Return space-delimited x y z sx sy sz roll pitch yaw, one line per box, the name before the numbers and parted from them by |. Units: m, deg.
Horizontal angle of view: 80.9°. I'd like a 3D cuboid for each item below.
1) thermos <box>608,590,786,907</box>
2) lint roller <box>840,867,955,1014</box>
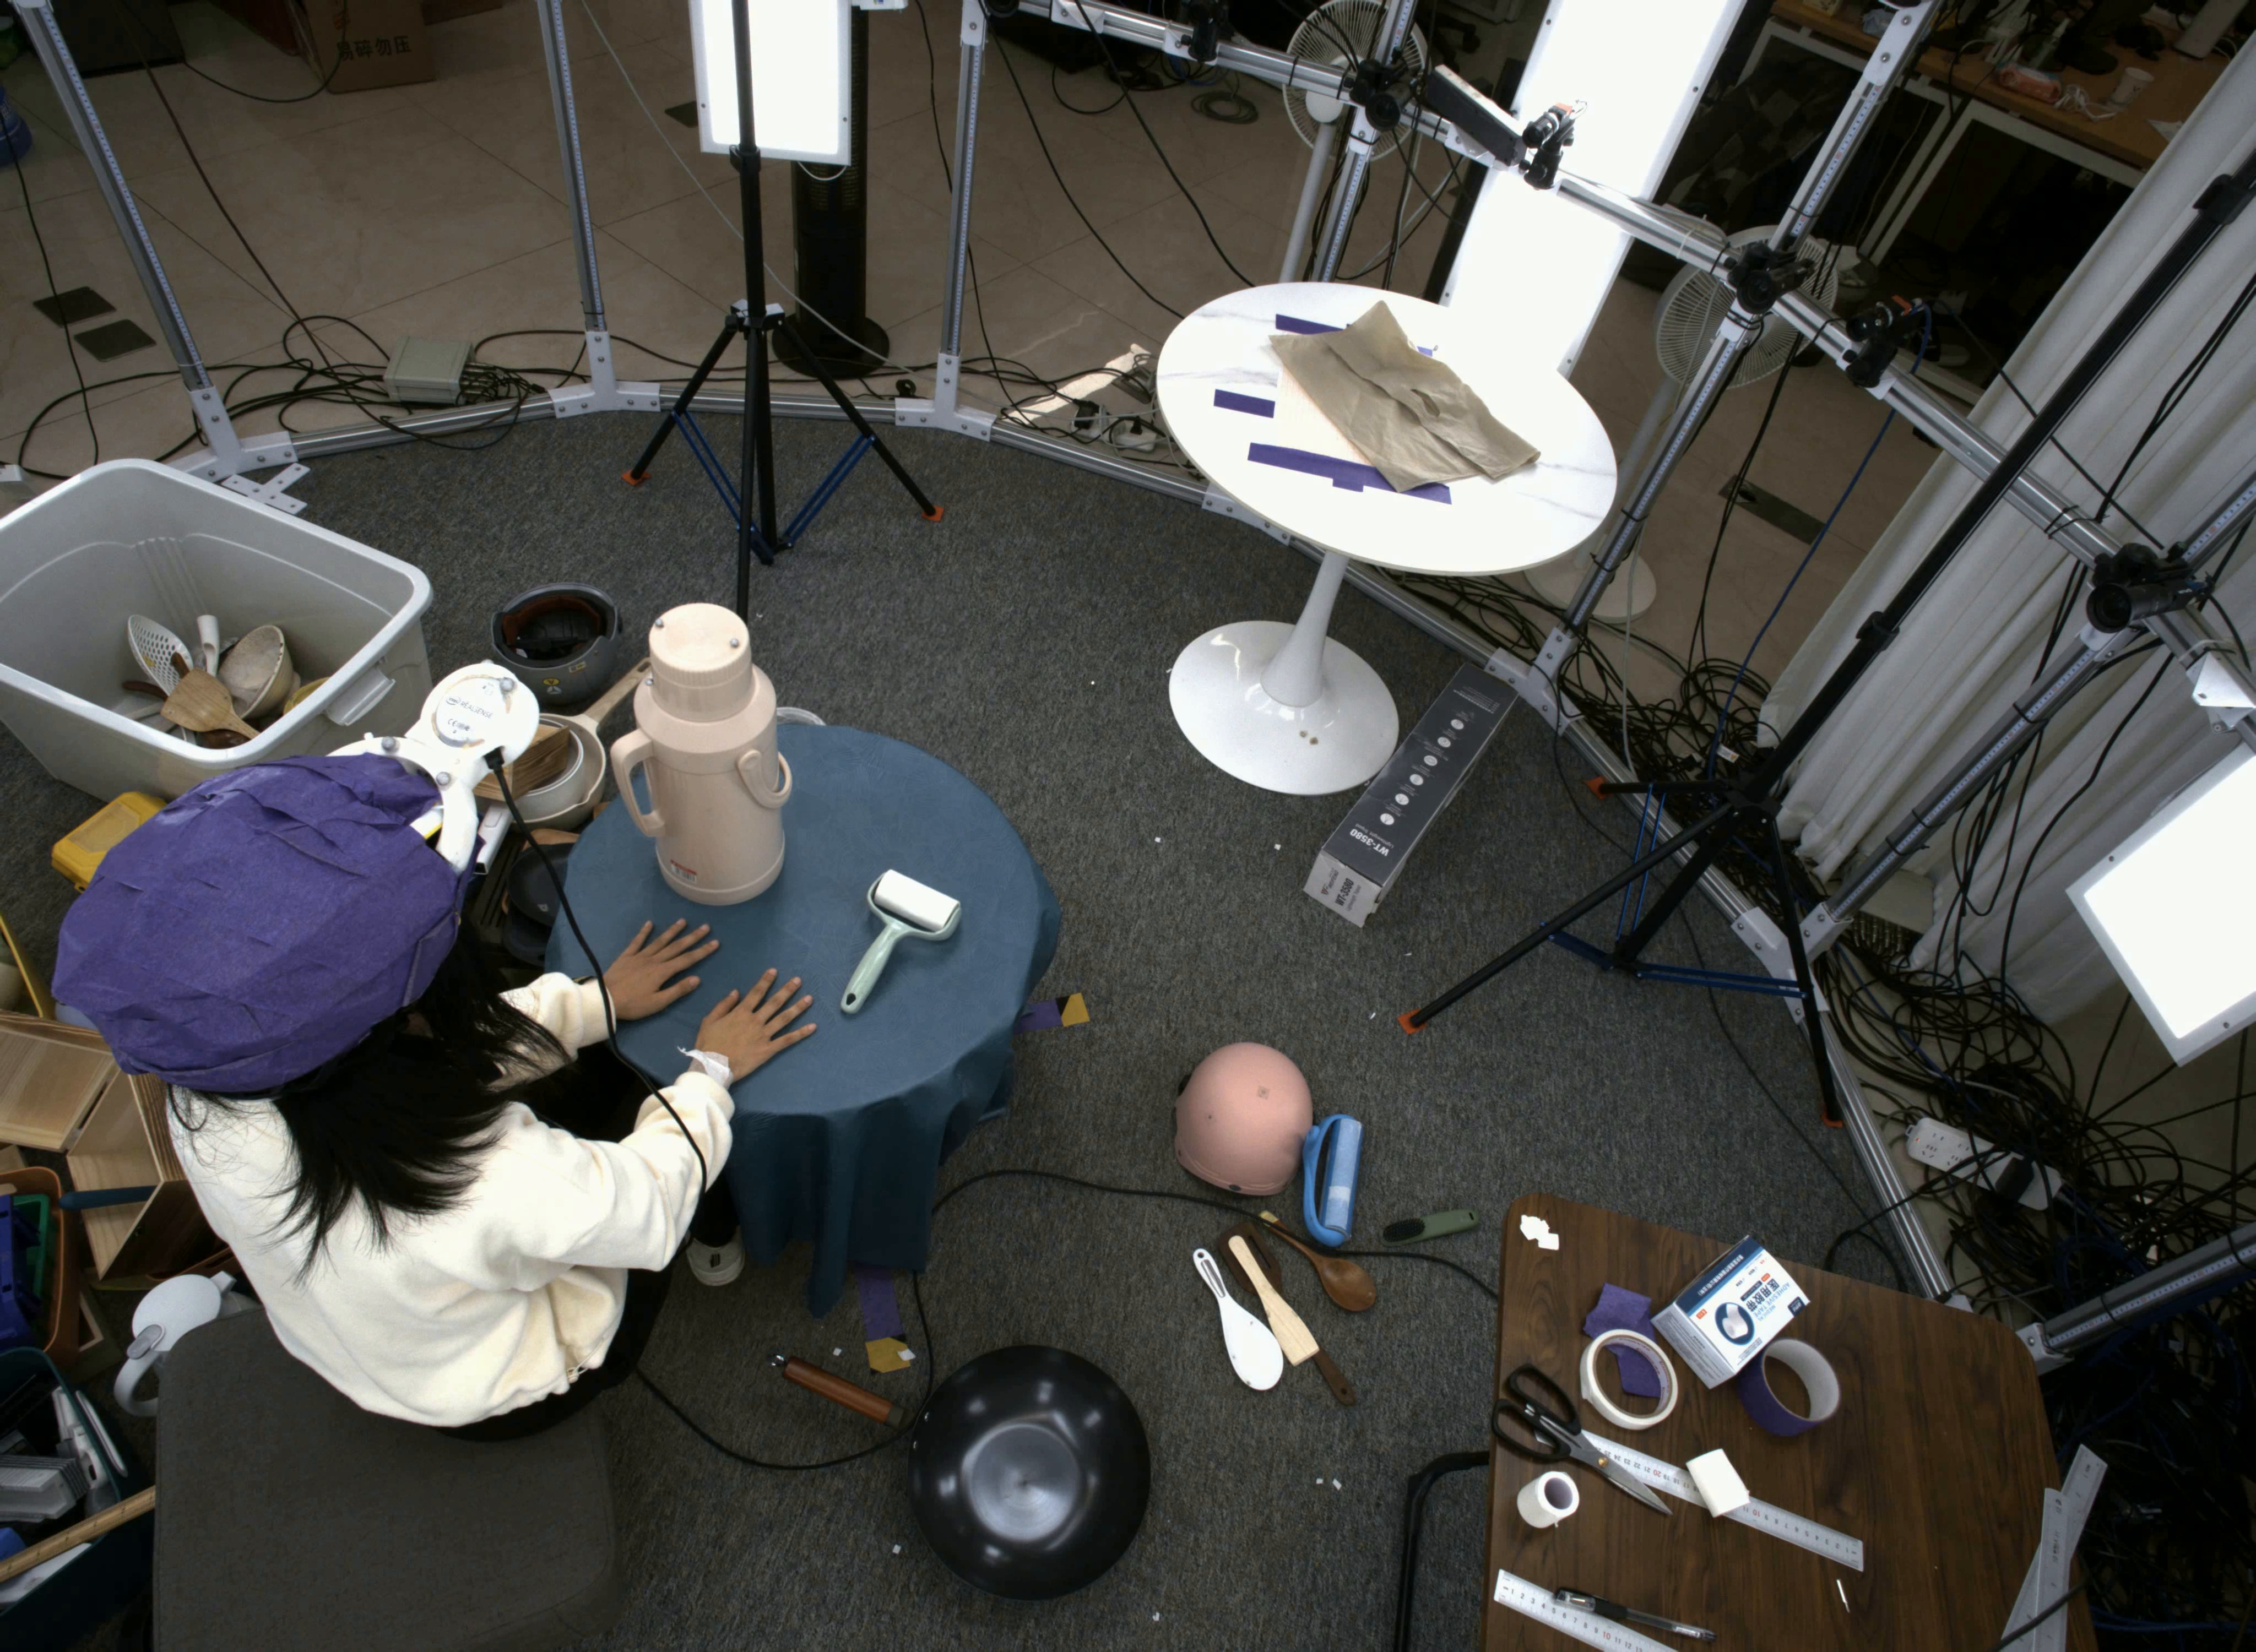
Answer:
thermos | -0.503 -0.081 1.502 0.171 0.415 0.207 42 56 20
lint roller | -0.306 0.143 1.614 0.115 0.049 0.196 27 52 3
